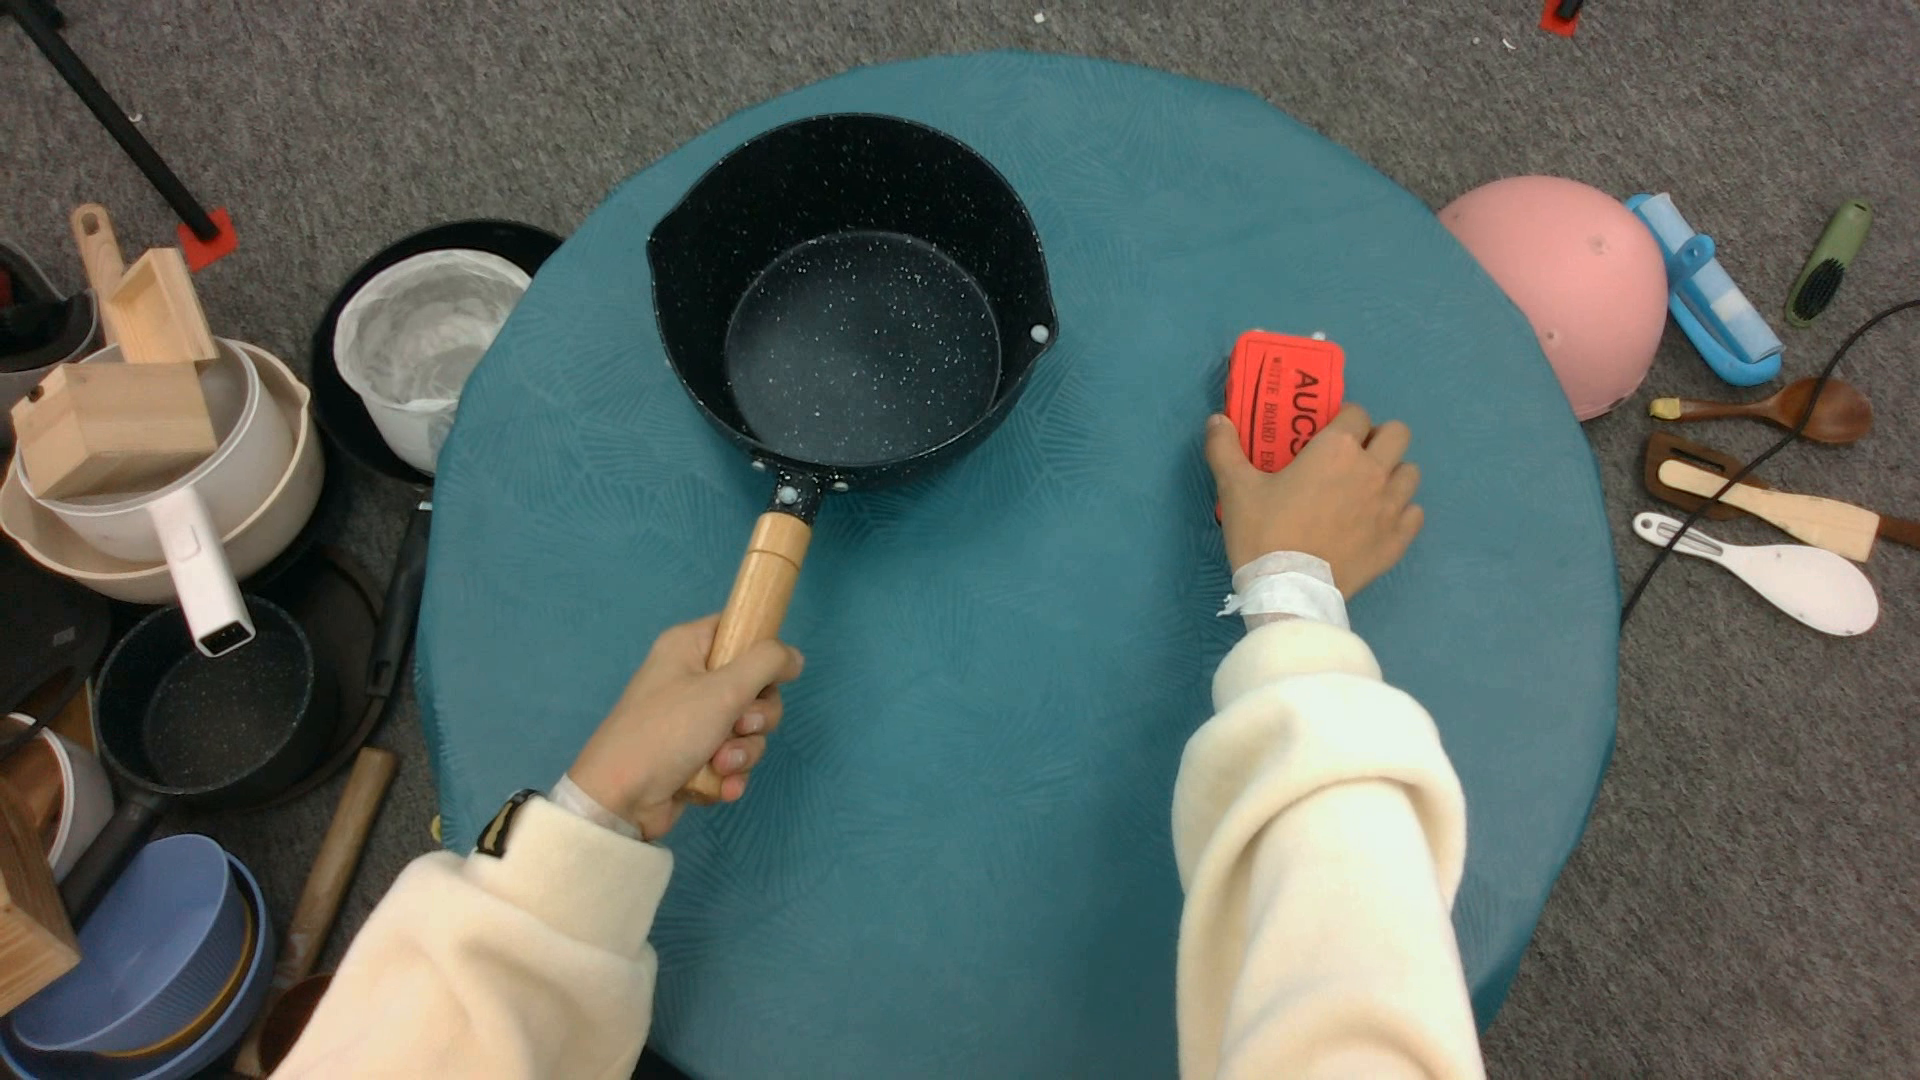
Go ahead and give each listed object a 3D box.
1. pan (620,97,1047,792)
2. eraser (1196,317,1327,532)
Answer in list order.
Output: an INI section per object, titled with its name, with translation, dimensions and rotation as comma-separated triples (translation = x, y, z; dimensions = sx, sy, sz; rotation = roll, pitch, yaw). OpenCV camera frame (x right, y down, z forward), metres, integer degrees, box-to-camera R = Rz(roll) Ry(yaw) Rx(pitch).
[pan]
translation = -0.076, -0.044, 0.648
dimensions = 0.207, 0.108, 0.344
rotation = 12, 72, 2
[eraser]
translation = 0.156, -0.060, 0.712
dimensions = 0.059, 0.023, 0.108
rotation = 9, 70, -1
